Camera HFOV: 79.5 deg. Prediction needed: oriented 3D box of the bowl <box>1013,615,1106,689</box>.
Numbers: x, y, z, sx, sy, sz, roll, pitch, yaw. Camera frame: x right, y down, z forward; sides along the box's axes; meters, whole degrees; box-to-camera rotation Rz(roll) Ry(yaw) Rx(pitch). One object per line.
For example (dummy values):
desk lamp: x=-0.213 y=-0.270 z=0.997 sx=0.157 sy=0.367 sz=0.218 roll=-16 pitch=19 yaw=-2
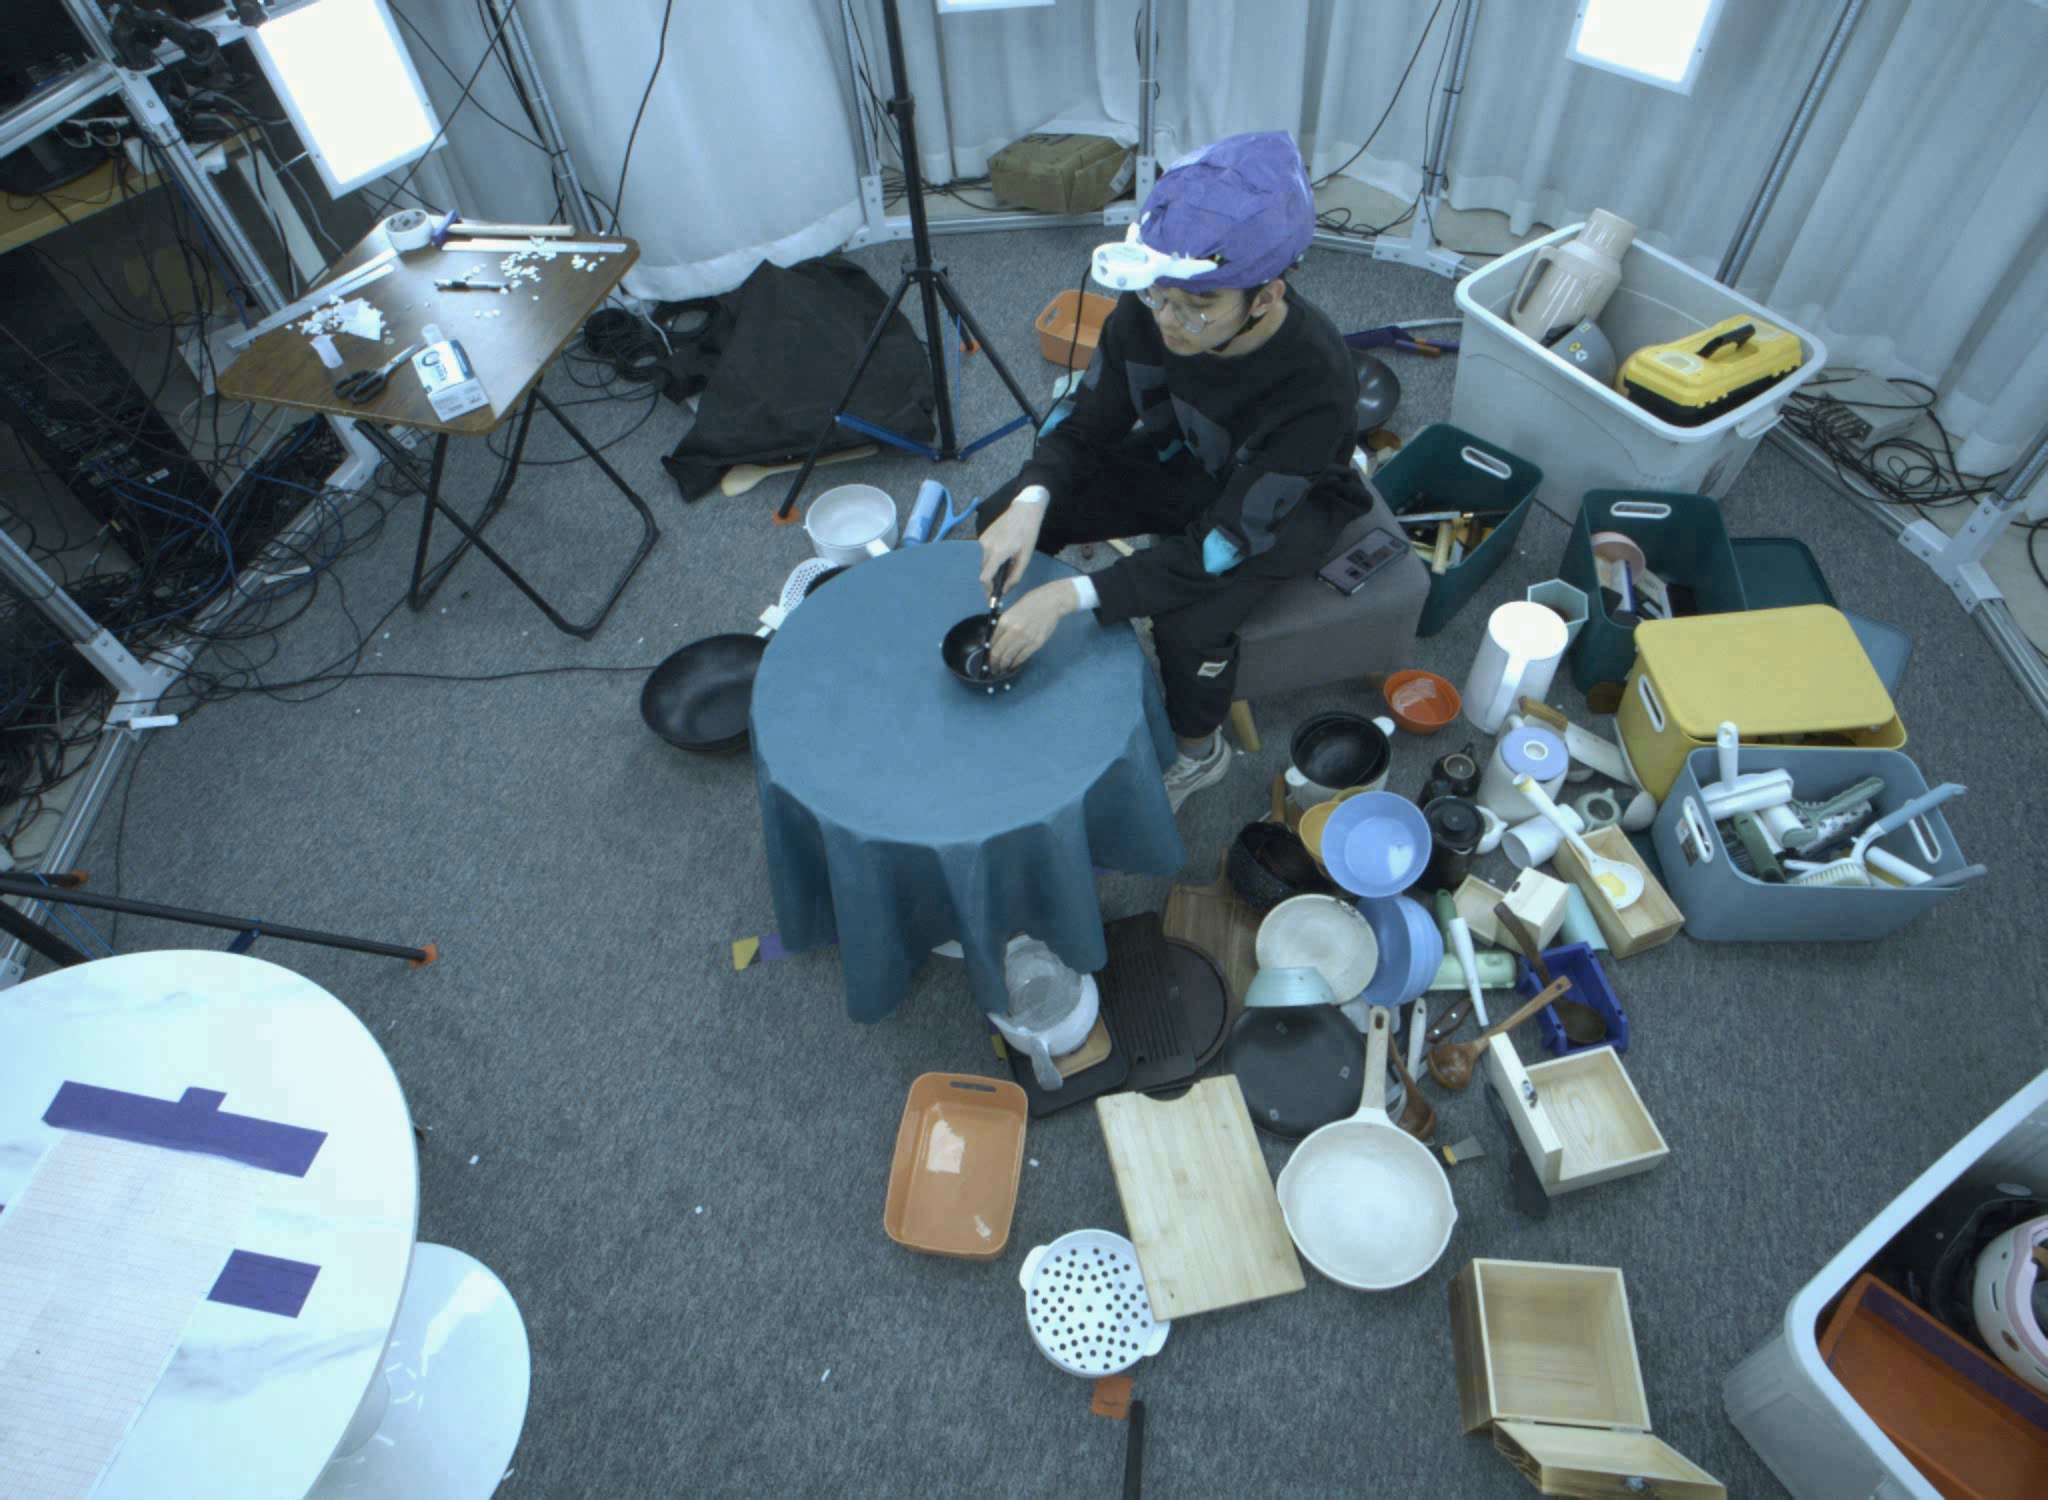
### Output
bowl: x=0.054 y=-0.139 z=1.857 sx=0.140 sy=0.050 sz=0.138 roll=0 pitch=51 yaw=1

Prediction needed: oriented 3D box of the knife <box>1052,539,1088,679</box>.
knife: x=0.066 y=-0.210 z=1.860 sx=0.017 sy=0.026 sz=0.225 roll=11 pitch=86 yaw=21
